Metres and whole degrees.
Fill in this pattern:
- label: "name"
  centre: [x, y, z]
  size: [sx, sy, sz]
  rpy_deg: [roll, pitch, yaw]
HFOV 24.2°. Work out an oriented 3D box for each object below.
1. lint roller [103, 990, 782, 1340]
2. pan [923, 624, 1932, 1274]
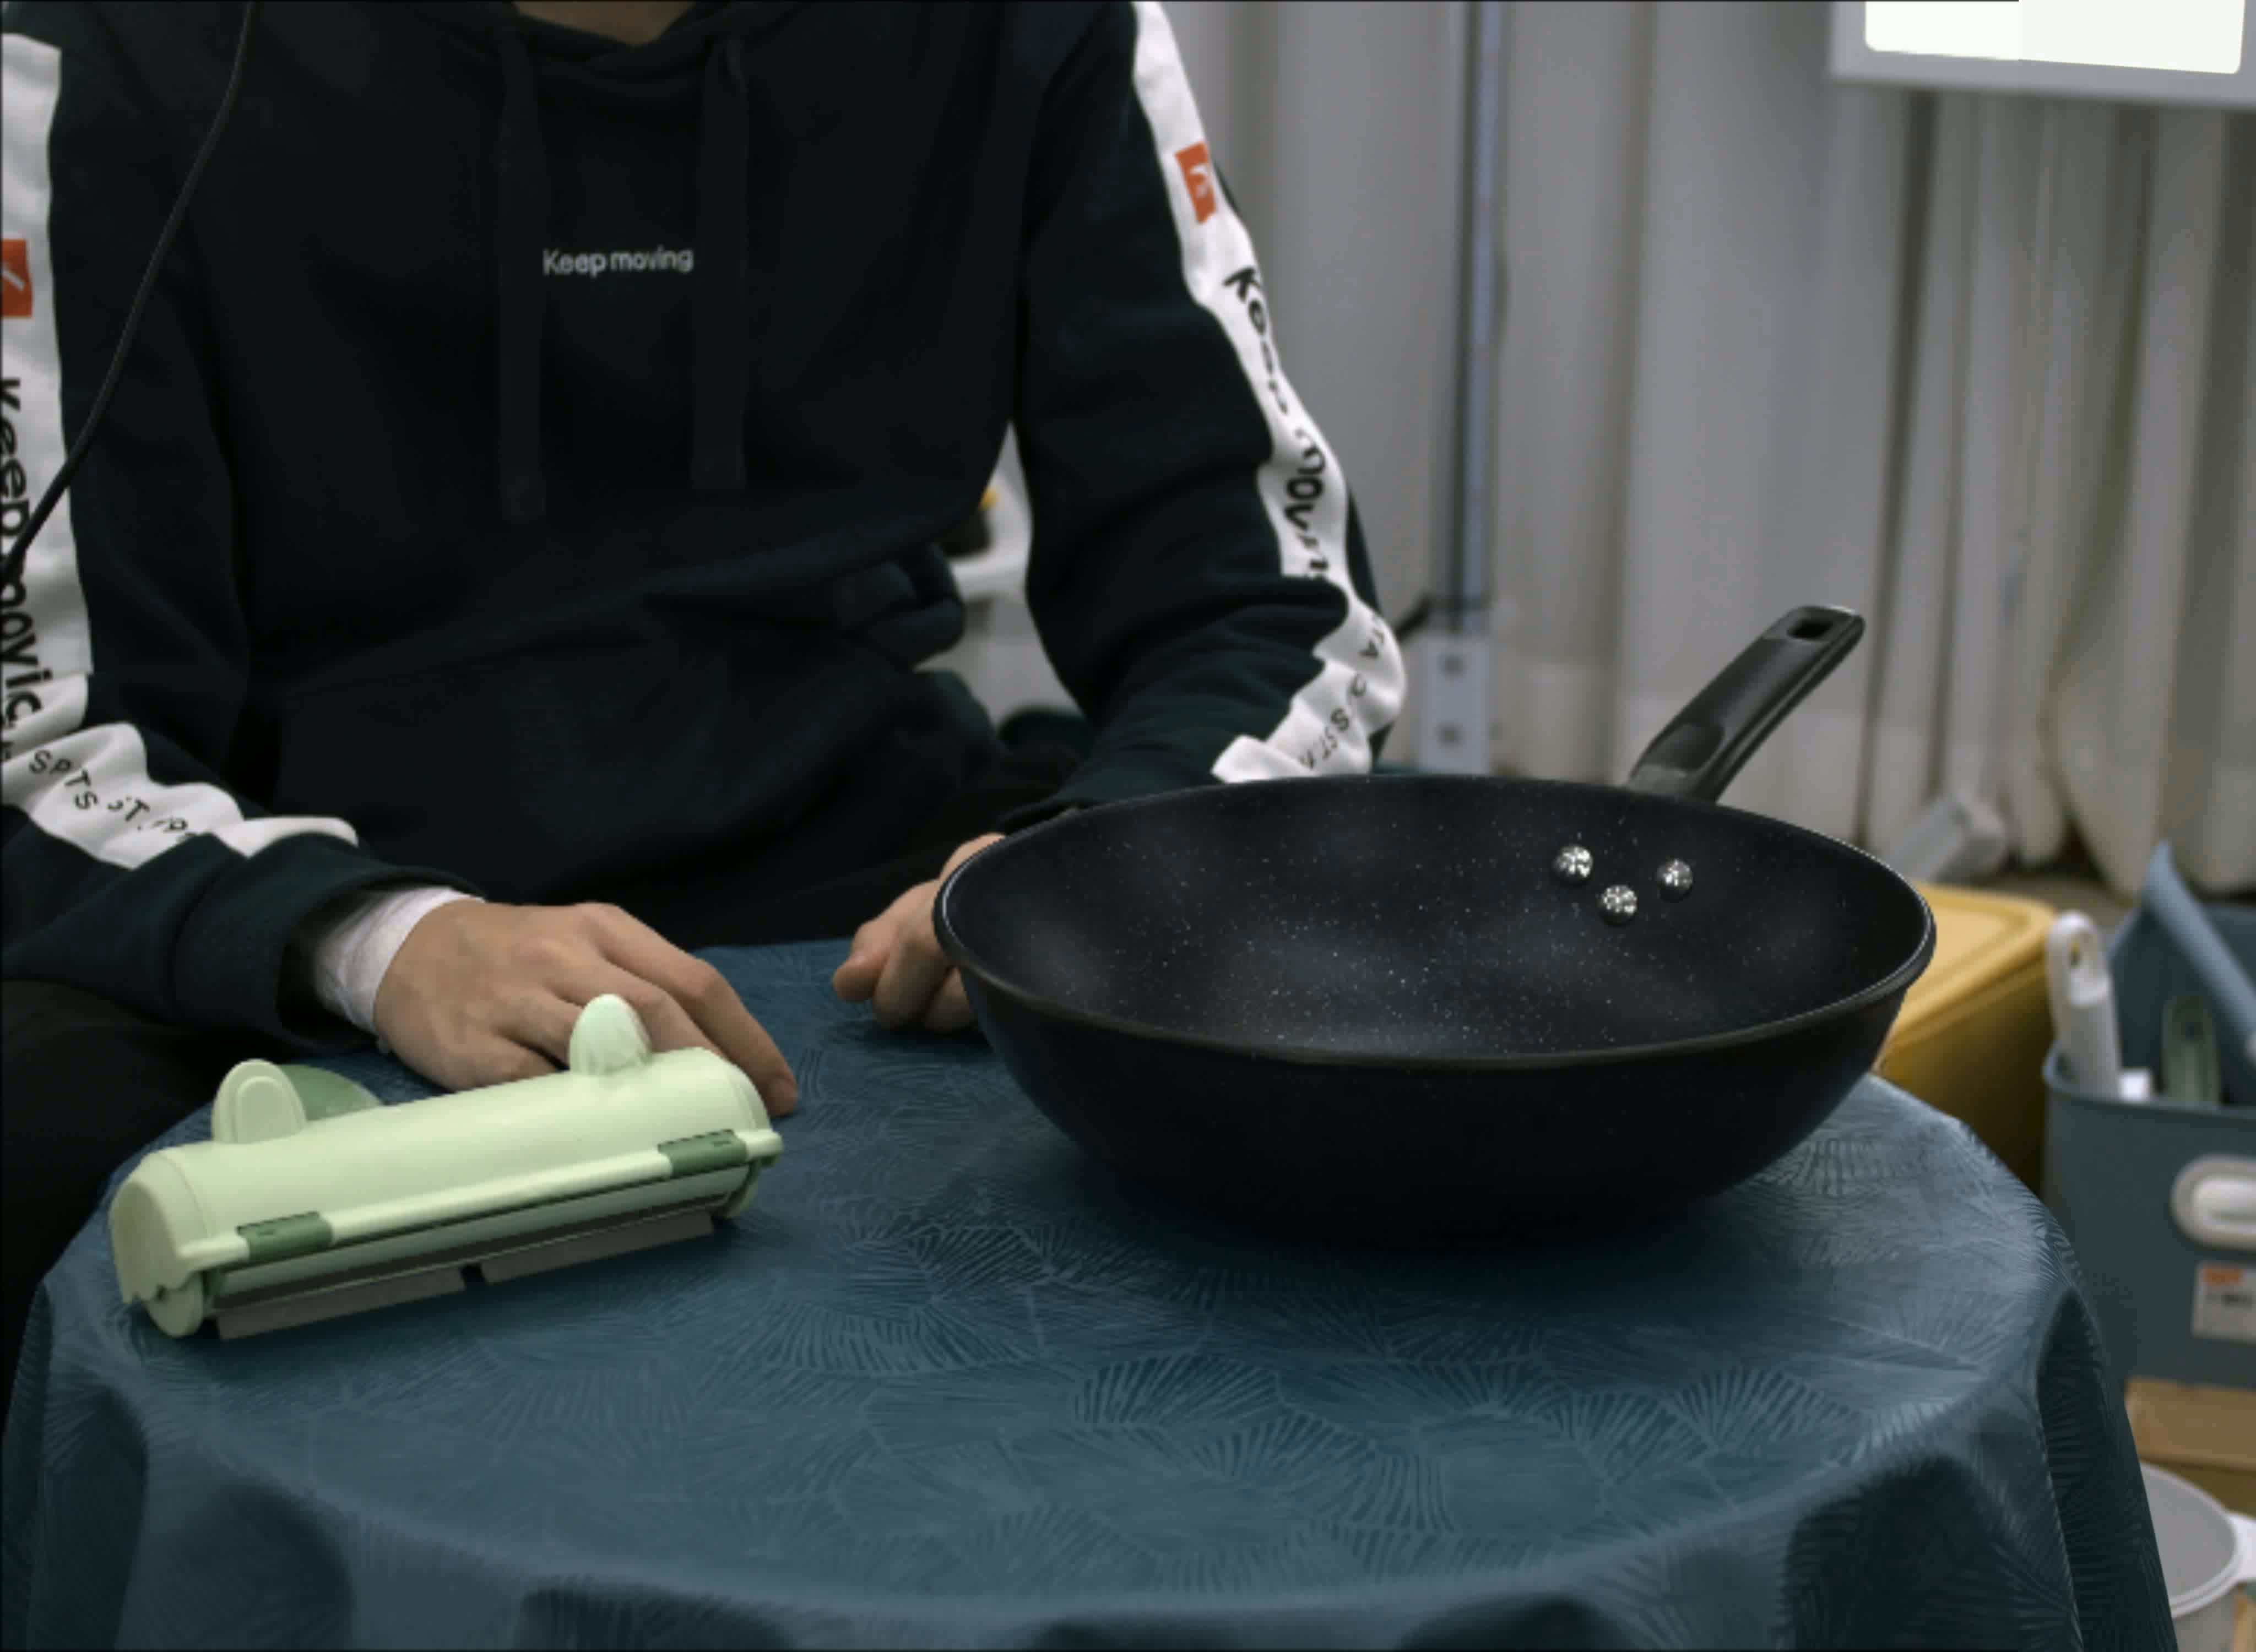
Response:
- label: "lint roller"
  centre: [-0.230, 0.082, 1.579]
  size: [0.199, 0.083, 0.181]
  rpy_deg: [-10, 24, -32]
- label: "pan"
  centre: [0.132, 0.038, 1.695]
  size: [0.306, 0.112, 0.478]
  rpy_deg: [10, 19, 27]
